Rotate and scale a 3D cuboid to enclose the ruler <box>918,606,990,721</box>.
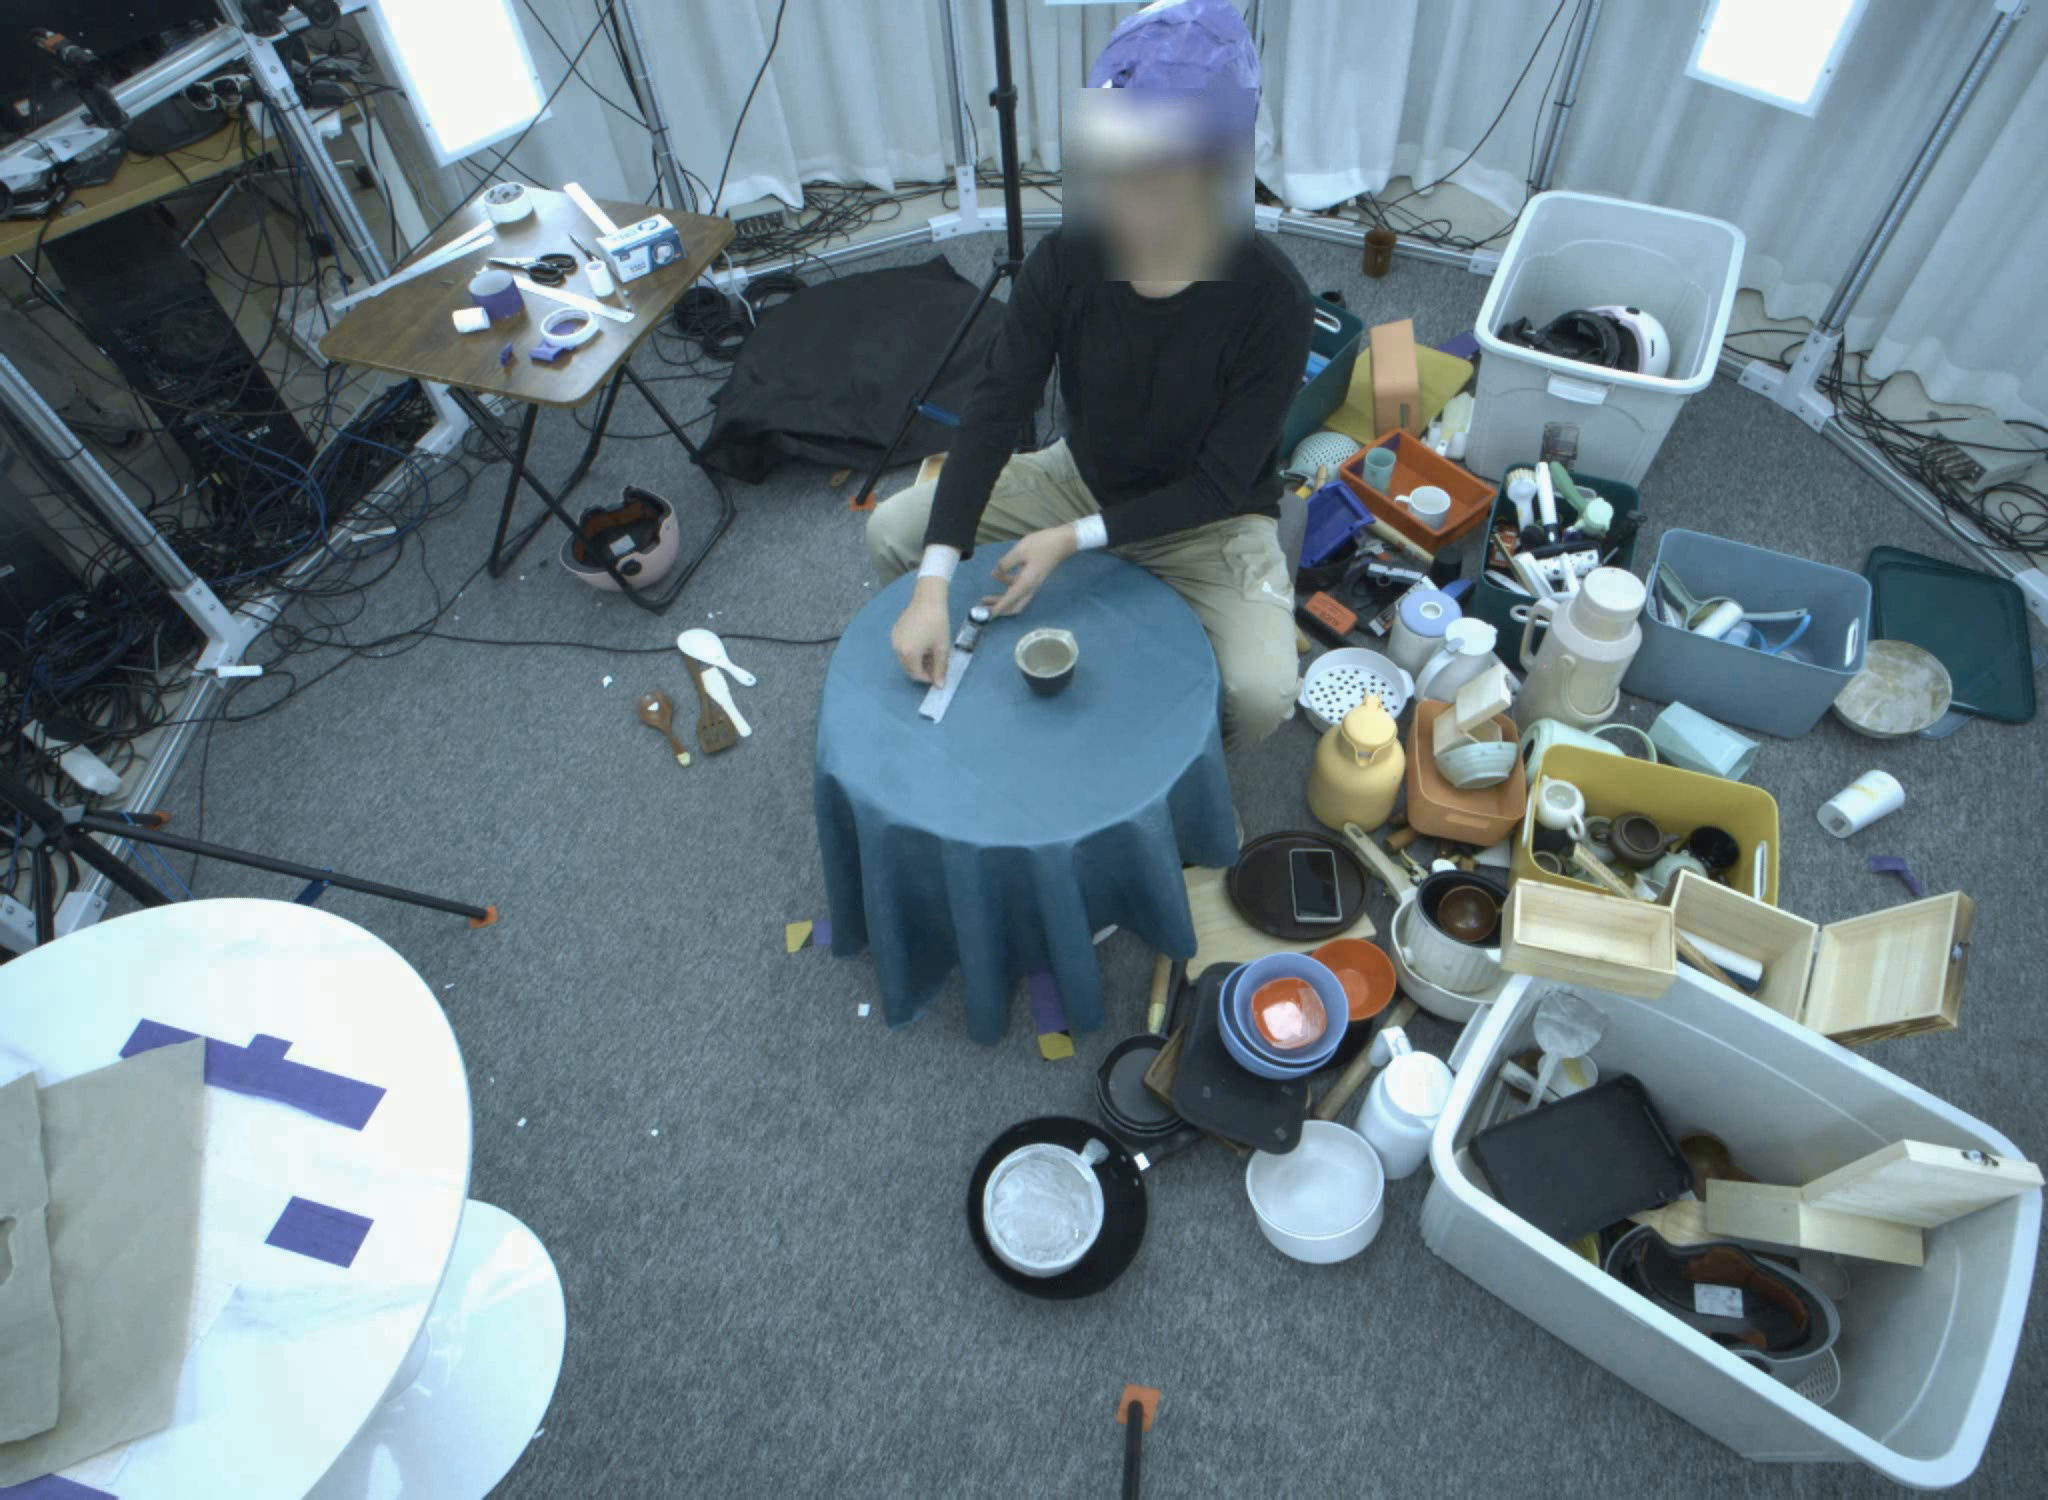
[{"bbox_3d":[-0.103,-0.136,1.867,0.038,0.024,0.218,20,56,7],"label":"ruler"}]

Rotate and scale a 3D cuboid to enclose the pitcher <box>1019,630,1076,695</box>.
[{"bbox_3d":[0.039,-0.126,1.831,0.082,0.072,0.096,33,63,24],"label":"pitcher"}]
